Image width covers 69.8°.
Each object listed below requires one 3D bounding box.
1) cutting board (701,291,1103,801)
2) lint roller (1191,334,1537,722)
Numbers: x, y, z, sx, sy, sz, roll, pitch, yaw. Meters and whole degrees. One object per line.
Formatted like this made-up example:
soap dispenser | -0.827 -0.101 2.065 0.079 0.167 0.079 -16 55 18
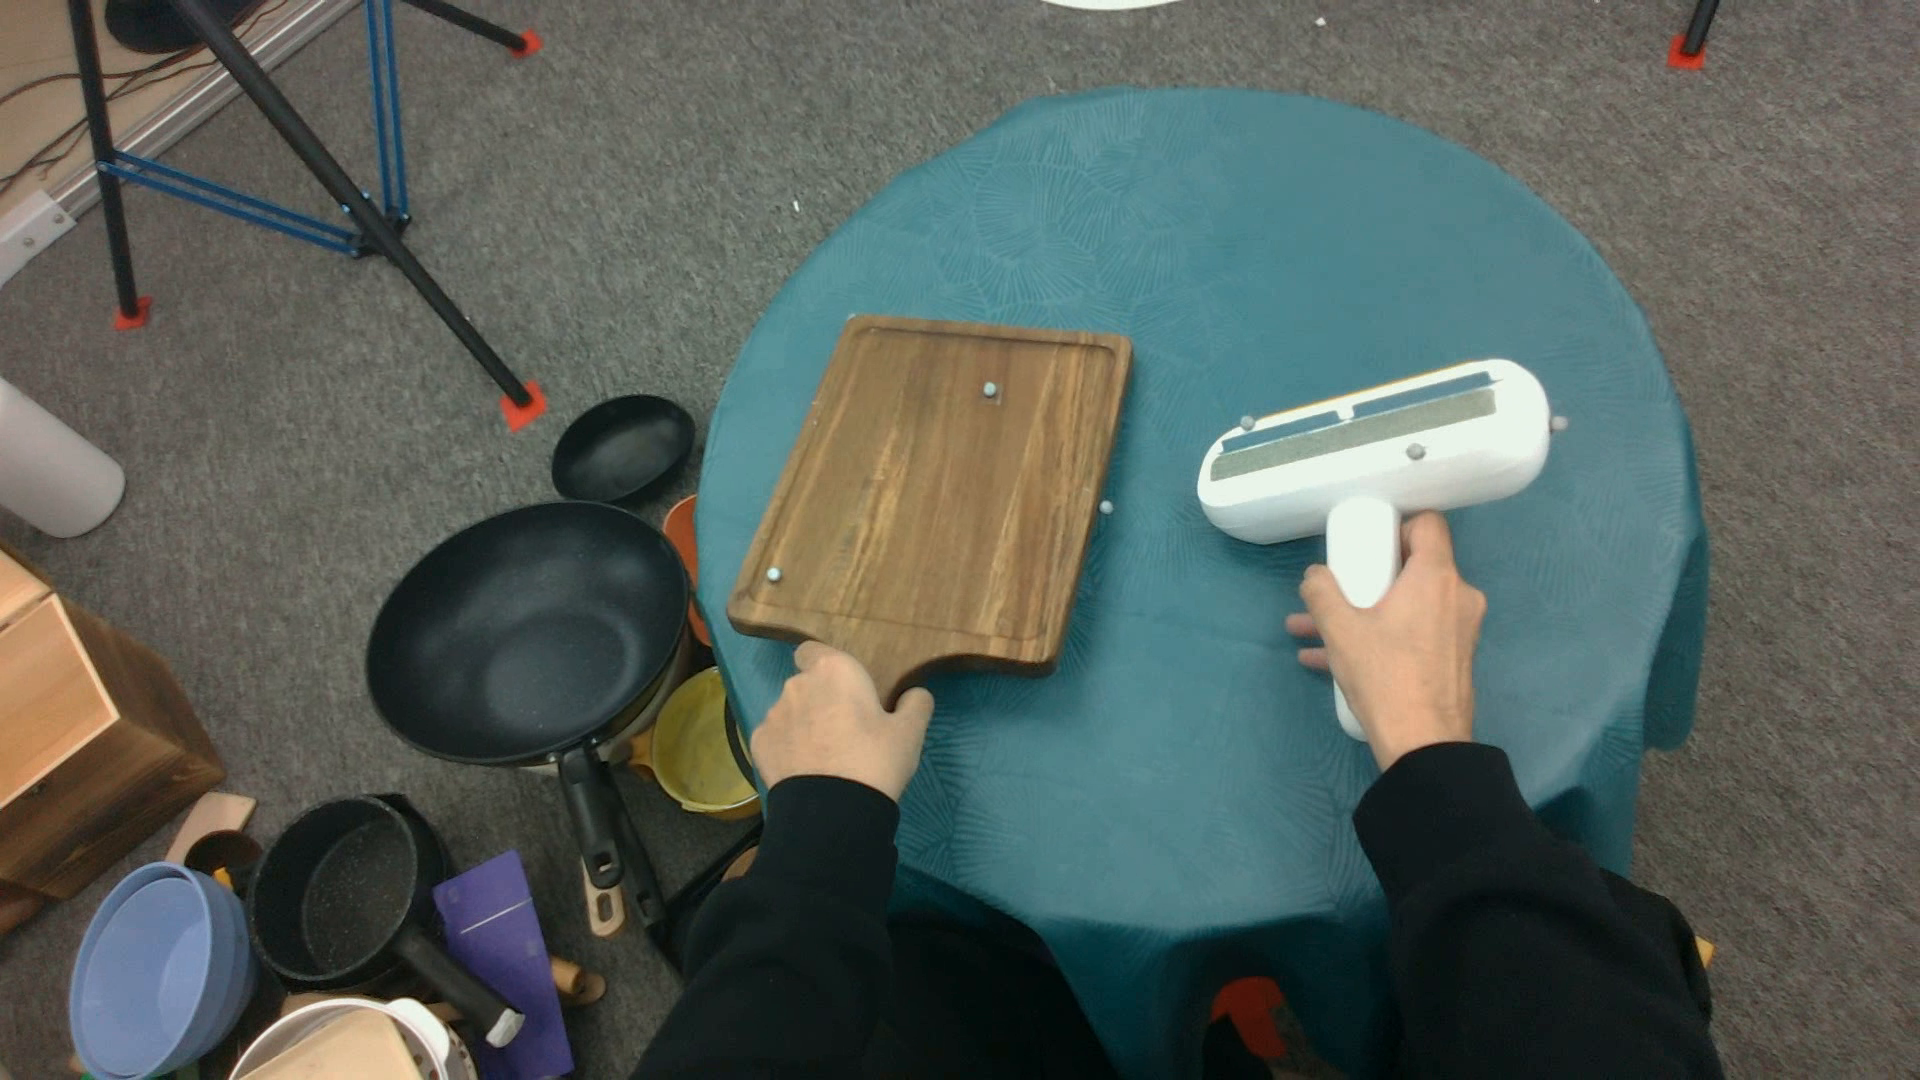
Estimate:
cutting board | -0.038 -0.012 0.806 0.201 0.023 0.354 6 56 13
lint roller | 0.203 -0.003 0.722 0.192 0.074 0.193 -7 60 42
